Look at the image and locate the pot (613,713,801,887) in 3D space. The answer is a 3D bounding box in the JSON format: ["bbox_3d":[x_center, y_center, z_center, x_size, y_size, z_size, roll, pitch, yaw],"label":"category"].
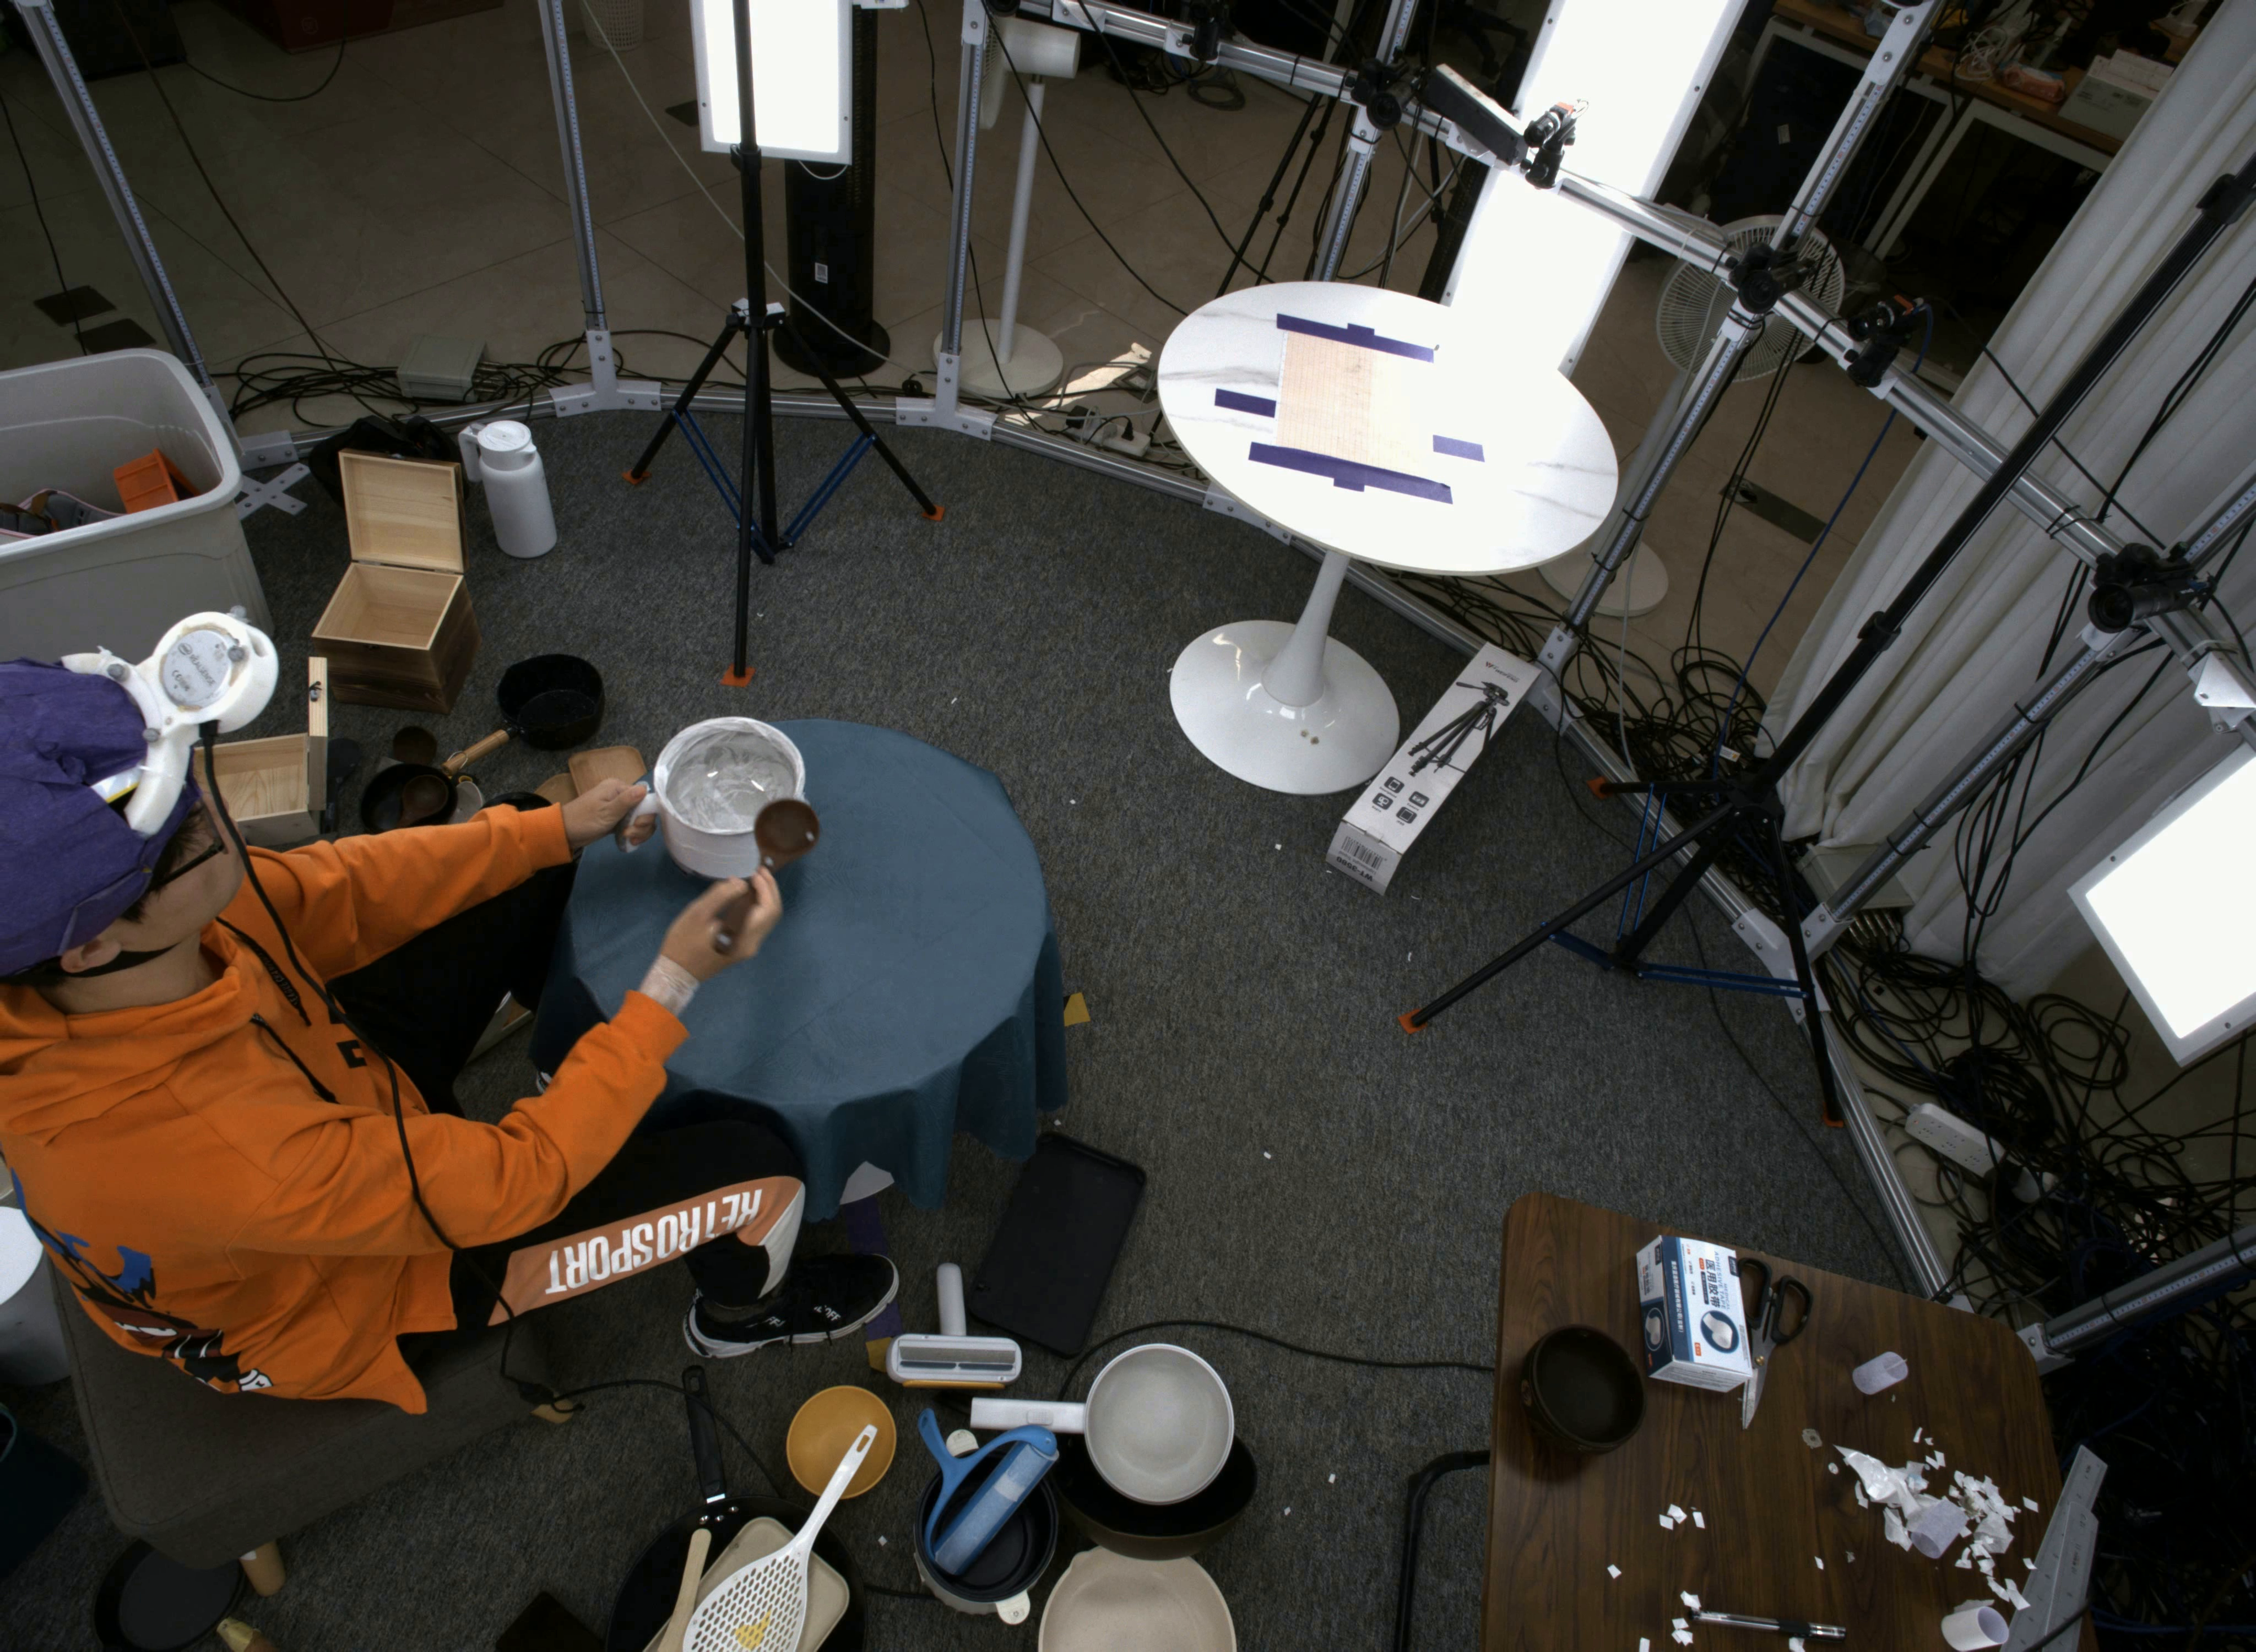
[{"bbox_3d":[-0.514,-0.023,1.570,0.235,0.139,0.175,-12,59,-22],"label":"pot"}]

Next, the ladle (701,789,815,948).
[{"bbox_3d":[-0.400,0.037,1.378,0.076,0.066,0.256,13,26,-1],"label":"ladle"}]
